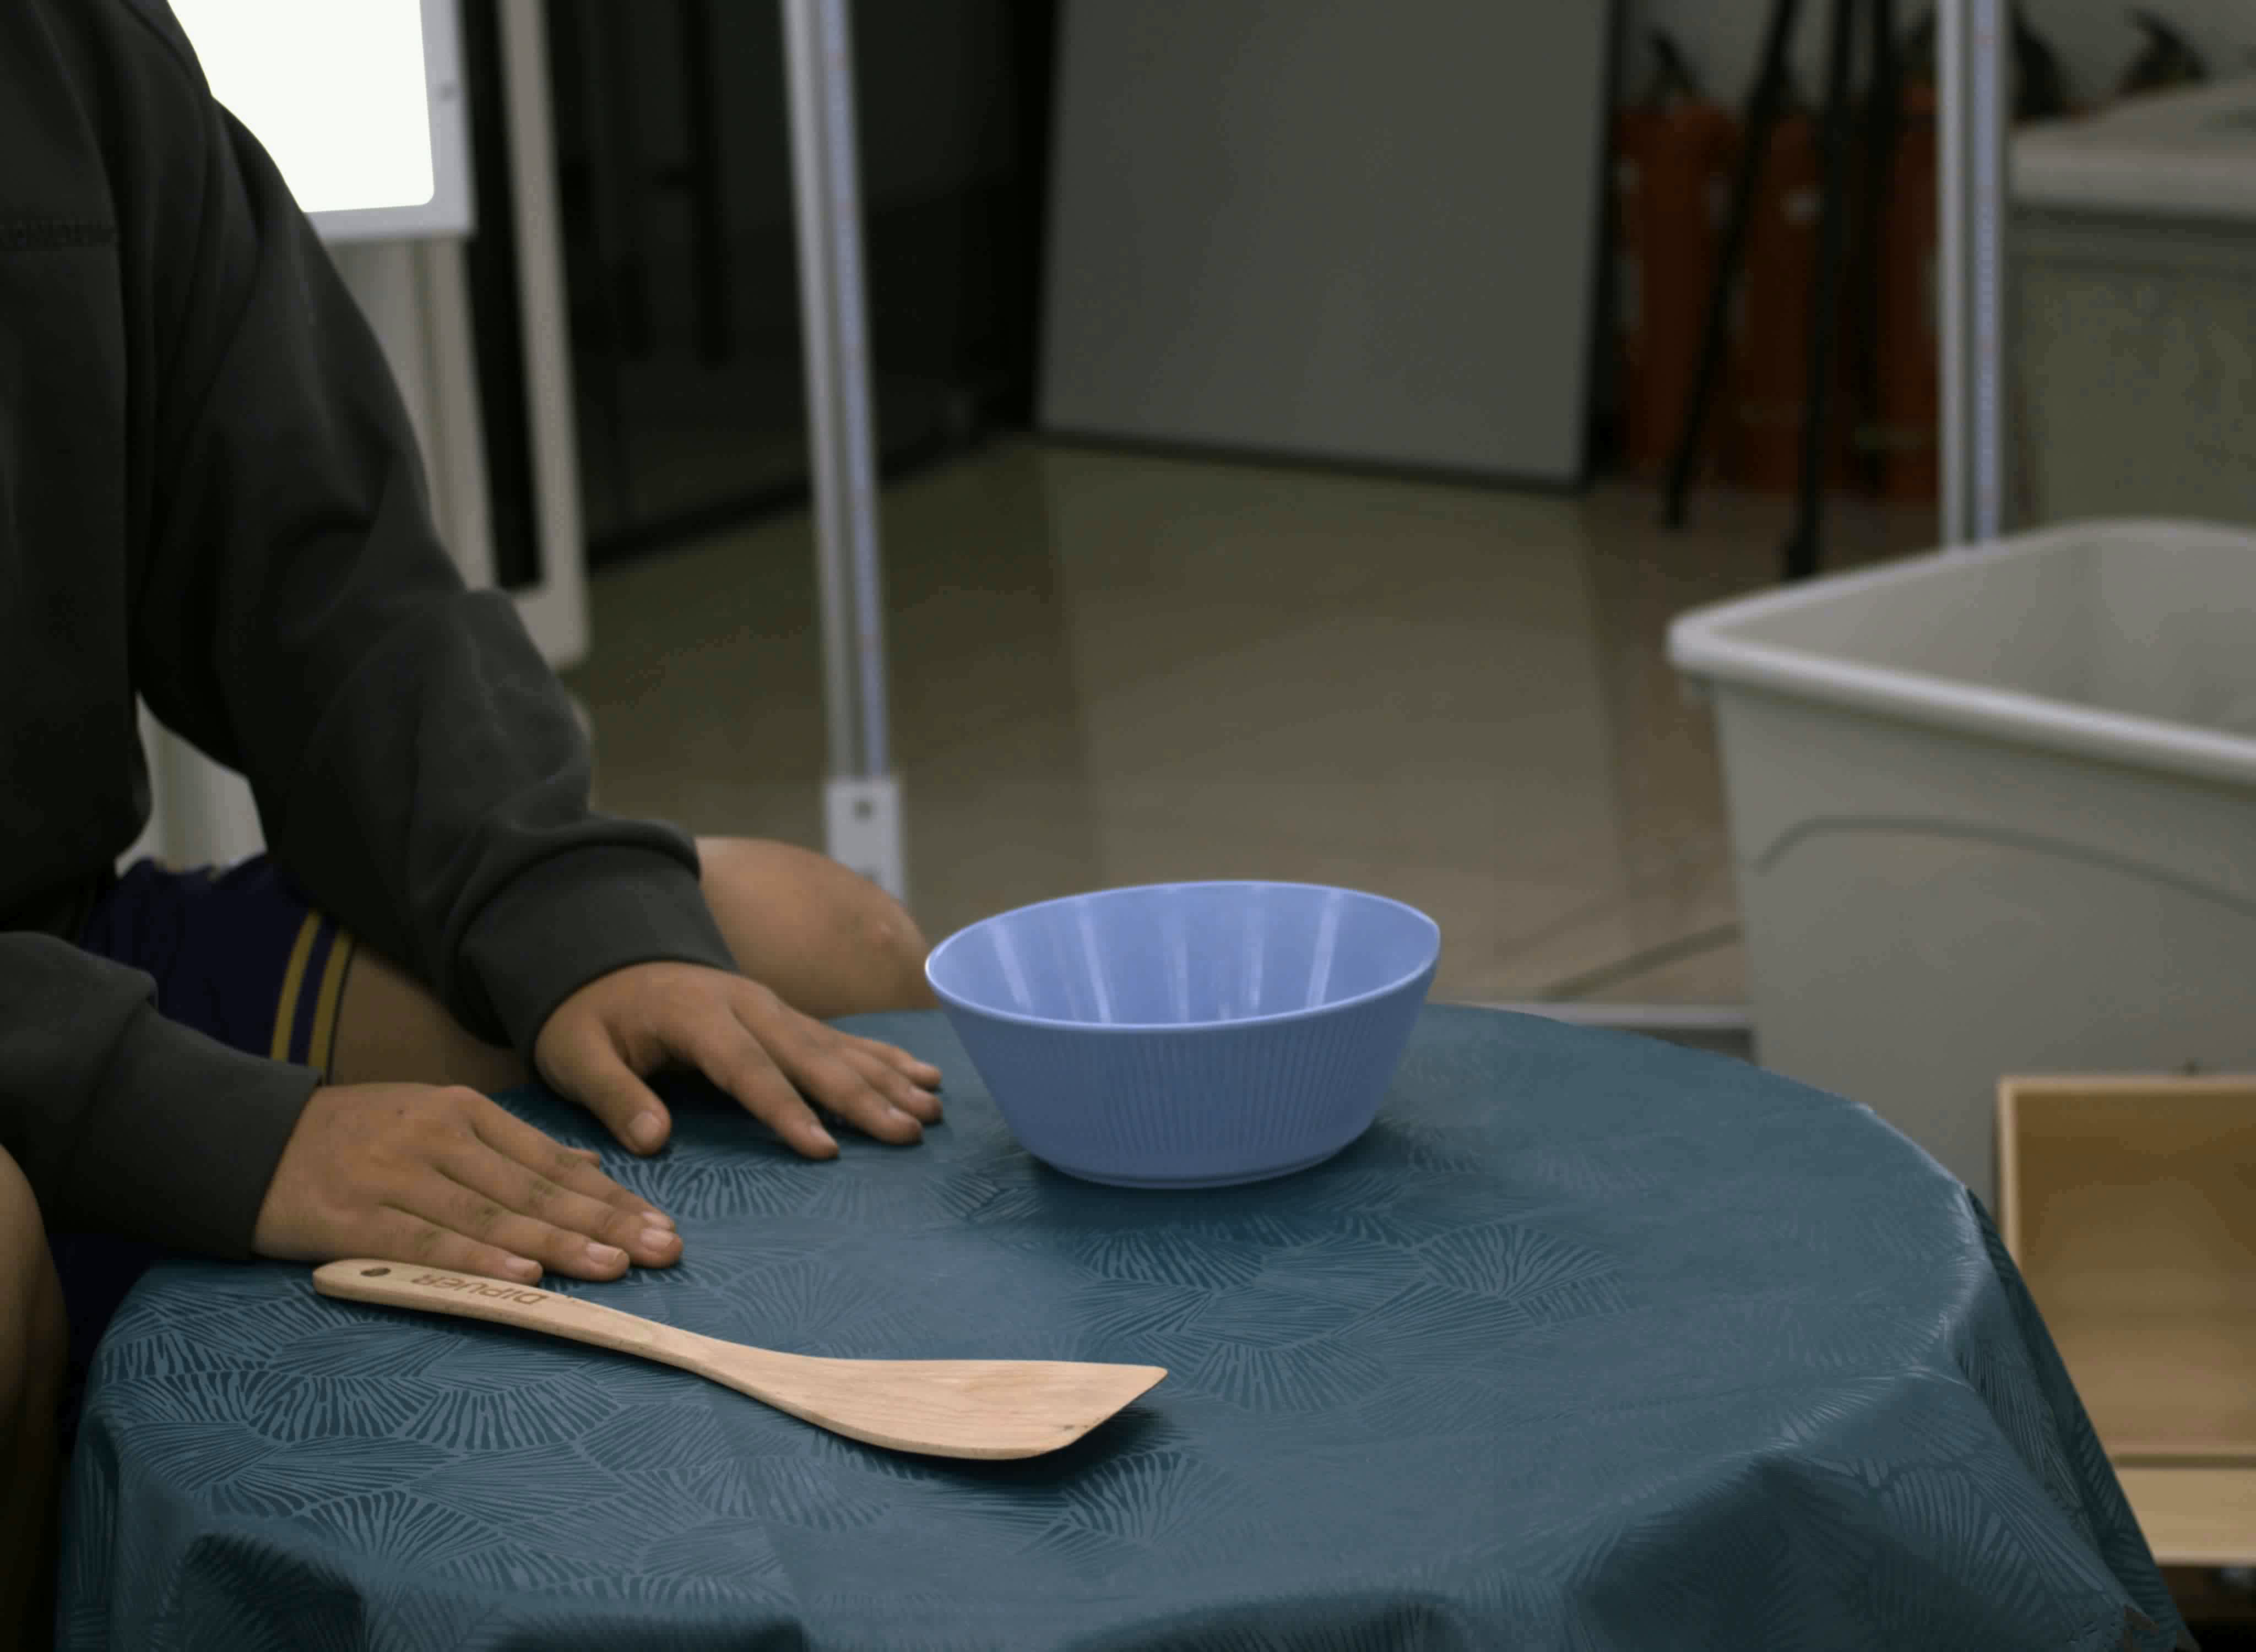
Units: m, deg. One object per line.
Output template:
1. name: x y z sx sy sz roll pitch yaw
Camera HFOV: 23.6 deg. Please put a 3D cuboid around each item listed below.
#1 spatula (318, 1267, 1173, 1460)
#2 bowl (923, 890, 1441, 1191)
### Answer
1. spatula: -0.125 0.156 1.627 0.330 0.017 0.078 7 18 38
2. bowl: 0.020 0.074 1.810 0.174 0.071 0.176 -4 14 0
